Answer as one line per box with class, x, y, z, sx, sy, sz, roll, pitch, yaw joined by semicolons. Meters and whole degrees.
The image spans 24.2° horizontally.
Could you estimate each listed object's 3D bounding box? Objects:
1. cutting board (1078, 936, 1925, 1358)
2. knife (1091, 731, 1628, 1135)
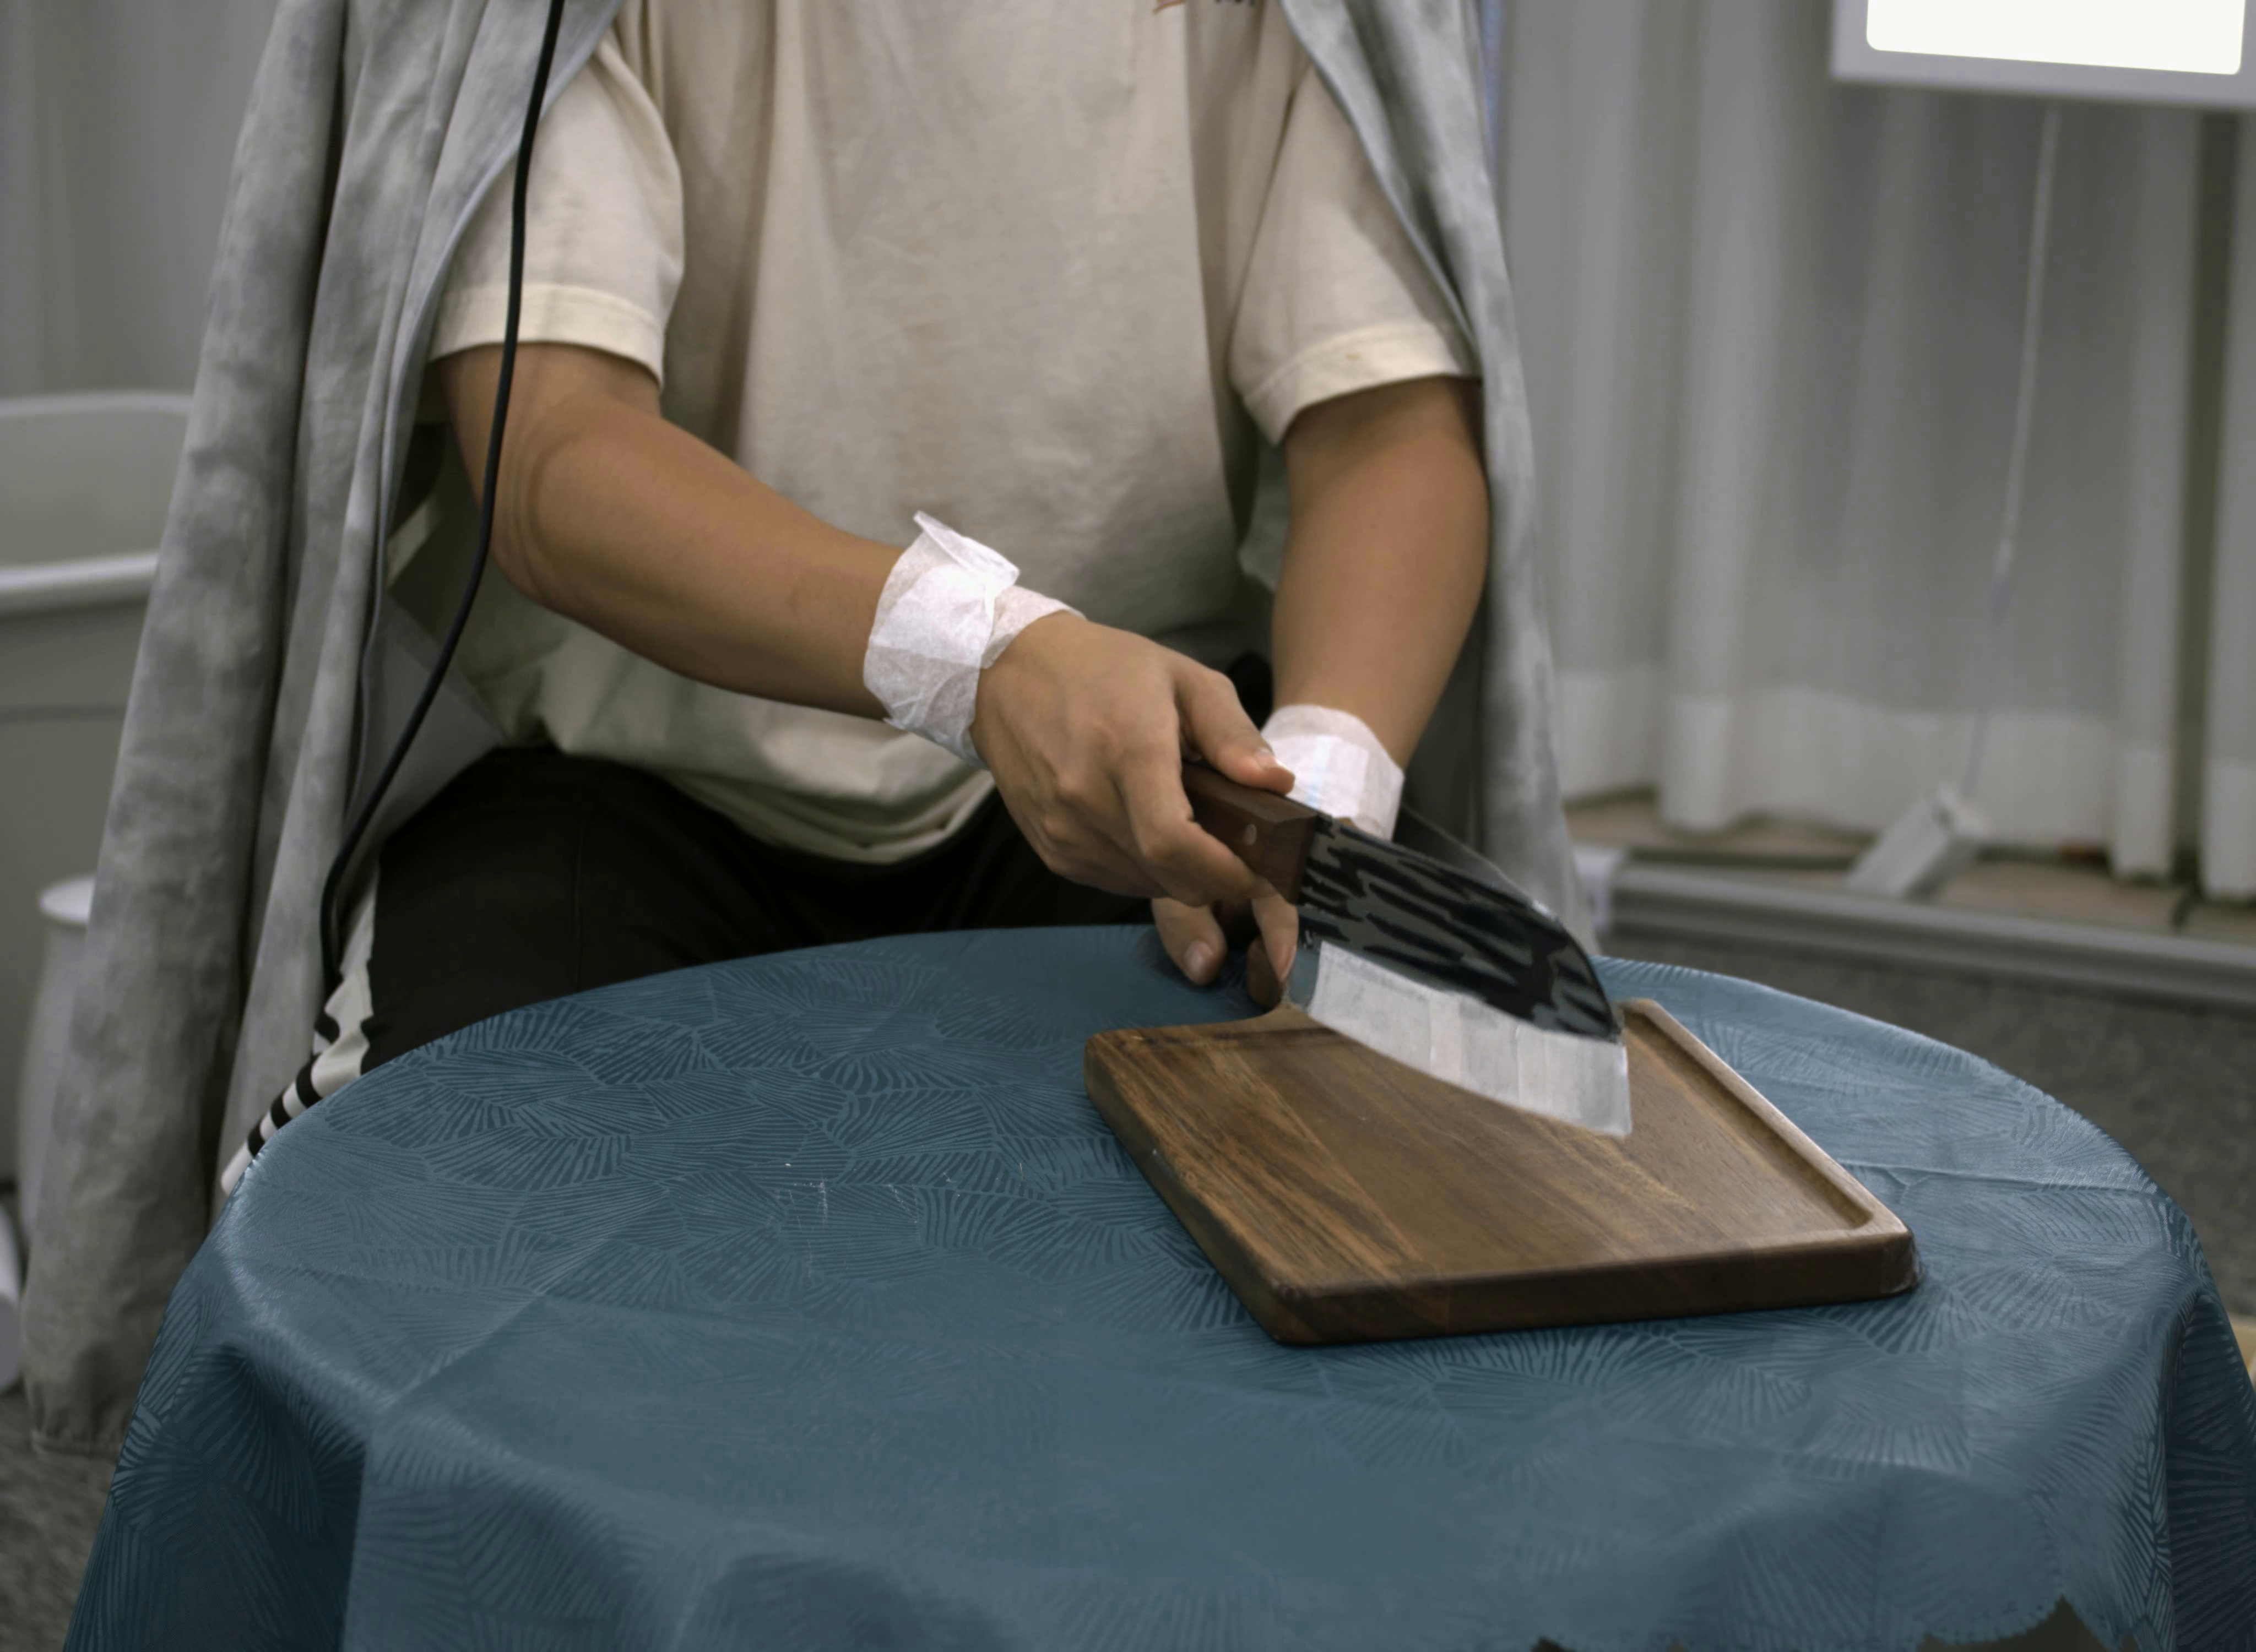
cutting board;0.097;0.091;1.675;0.201;0.023;0.349;-5;16;-14
knife;0.072;0.032;1.694;0.024;0.068;0.295;-3;17;-34
